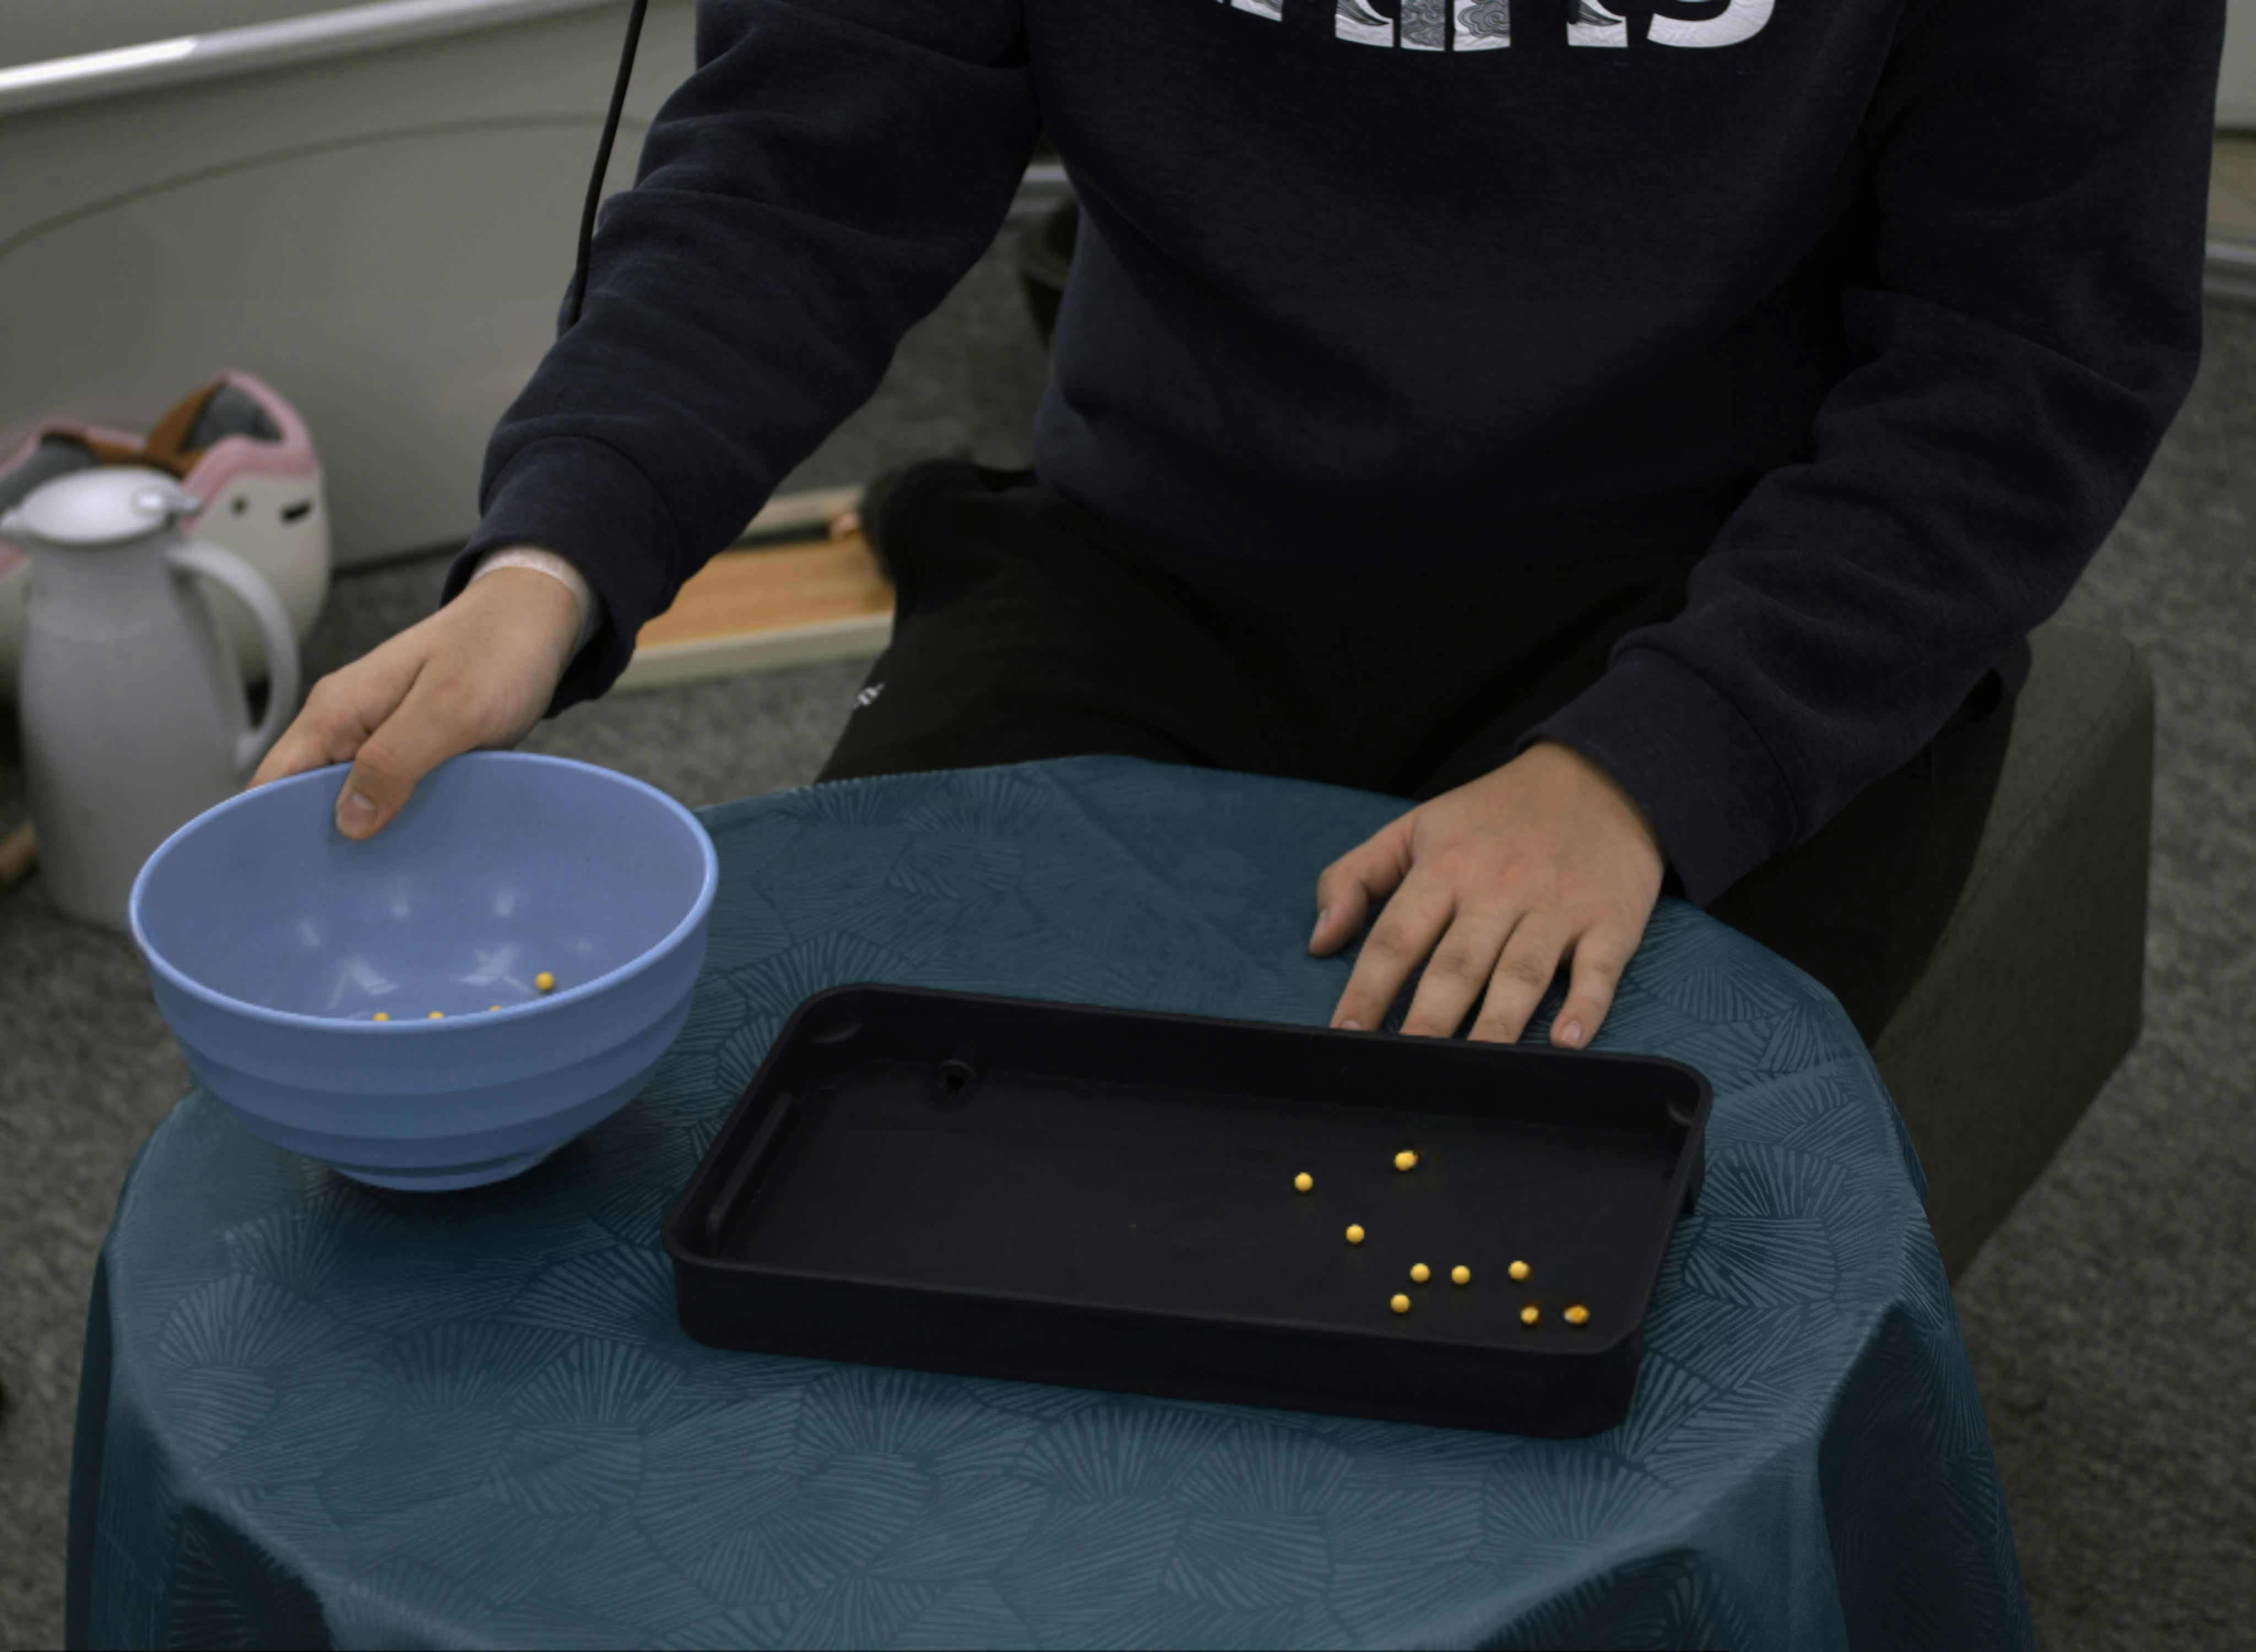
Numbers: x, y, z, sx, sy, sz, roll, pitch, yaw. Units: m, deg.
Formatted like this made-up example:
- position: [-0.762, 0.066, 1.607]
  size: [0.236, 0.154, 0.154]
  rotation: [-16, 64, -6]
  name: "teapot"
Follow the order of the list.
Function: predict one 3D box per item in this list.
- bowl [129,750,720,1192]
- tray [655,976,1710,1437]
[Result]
- position: [-0.231, 0.059, 1.885]
  size: [0.195, 0.094, 0.199]
  rotation: [-2, 27, 1]
  name: "bowl"
- position: [0.020, 0.120, 1.825]
  size: [0.316, 0.036, 0.187]
  rotation: [5, 28, 14]
  name: "tray"
